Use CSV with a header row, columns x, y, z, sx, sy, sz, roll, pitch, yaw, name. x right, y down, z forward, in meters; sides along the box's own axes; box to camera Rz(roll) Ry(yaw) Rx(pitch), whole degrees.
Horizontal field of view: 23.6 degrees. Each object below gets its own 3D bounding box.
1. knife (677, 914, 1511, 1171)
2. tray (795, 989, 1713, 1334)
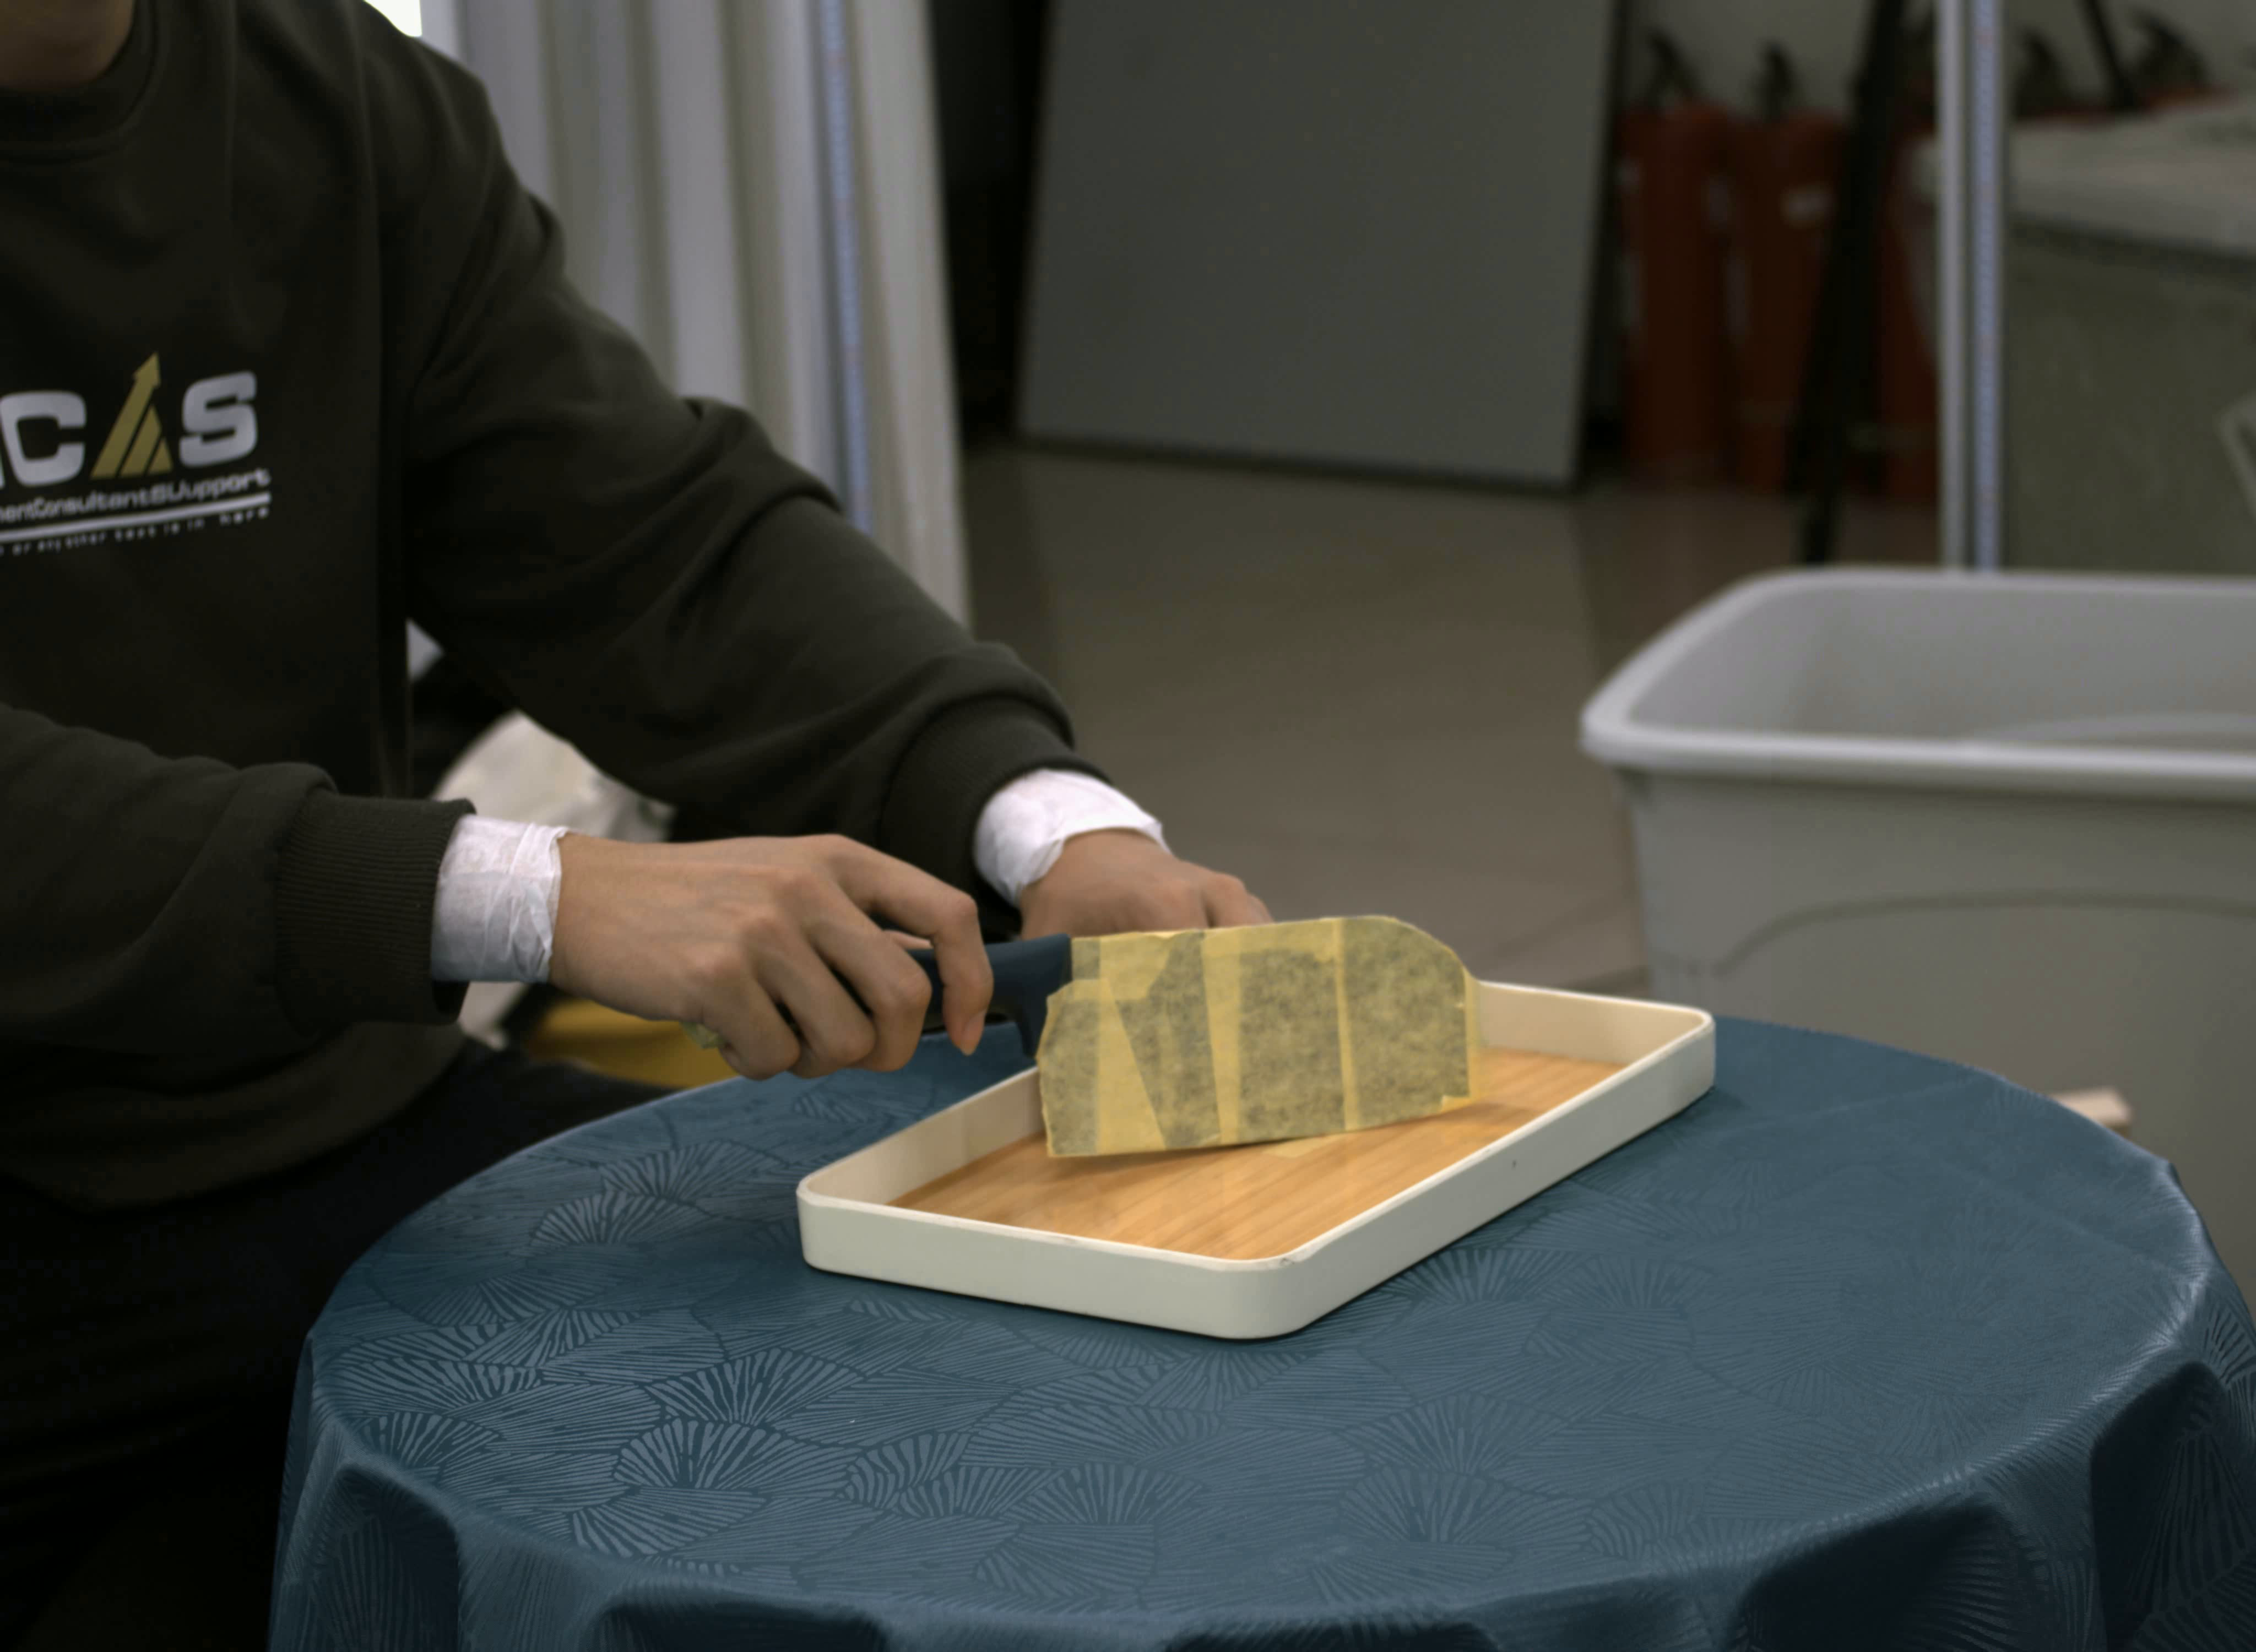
x,y,z,sx,sy,sz,roll,pitch,yaw,name
-0.007,0.072,1.777,0.284,0.082,0.027,-2,-6,-15,knife
0.047,0.104,1.779,0.193,0.028,0.295,4,15,35,tray
